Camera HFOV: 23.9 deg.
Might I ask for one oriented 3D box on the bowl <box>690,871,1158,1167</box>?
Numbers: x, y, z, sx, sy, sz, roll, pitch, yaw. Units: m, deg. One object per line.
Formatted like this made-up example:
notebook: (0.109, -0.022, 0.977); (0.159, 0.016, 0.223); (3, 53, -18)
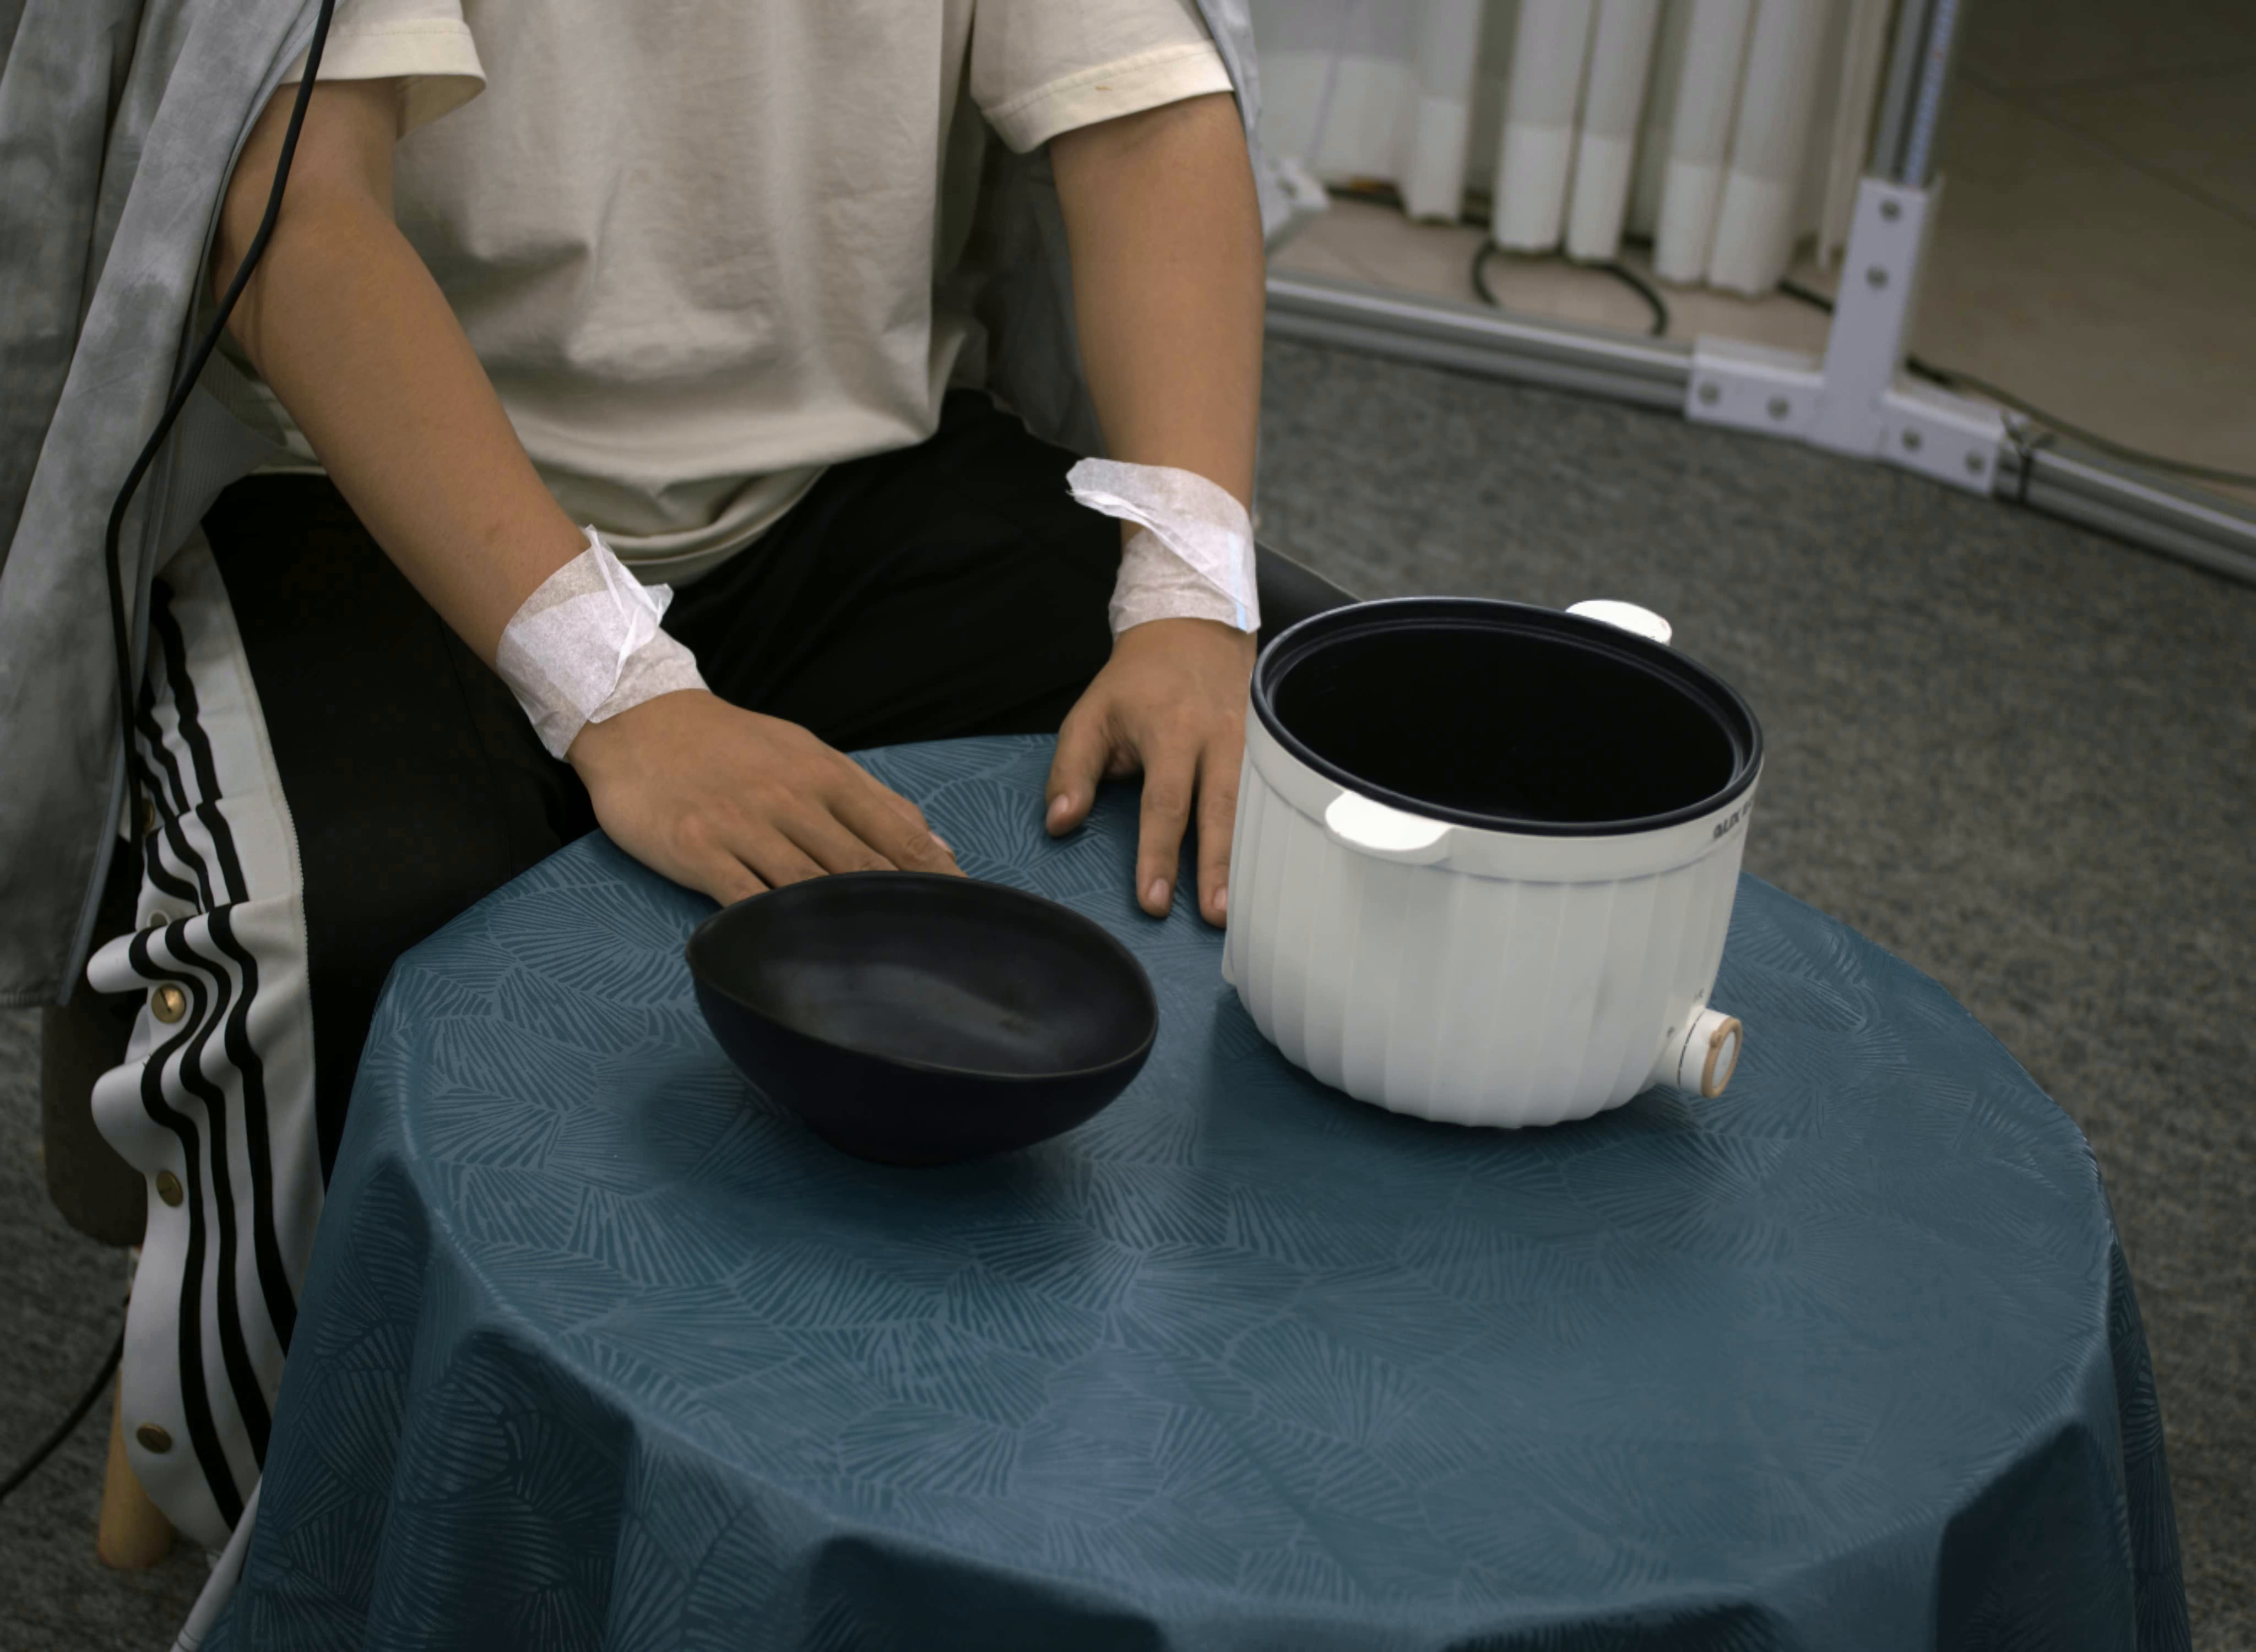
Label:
bowl: (-0.073, 0.074, 1.815); (0.171, 0.066, 0.137); (17, 28, 22)

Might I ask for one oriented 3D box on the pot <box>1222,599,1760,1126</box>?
pot: (0.130, 0.018, 1.890); (0.191, 0.142, 0.240); (15, 28, 23)
